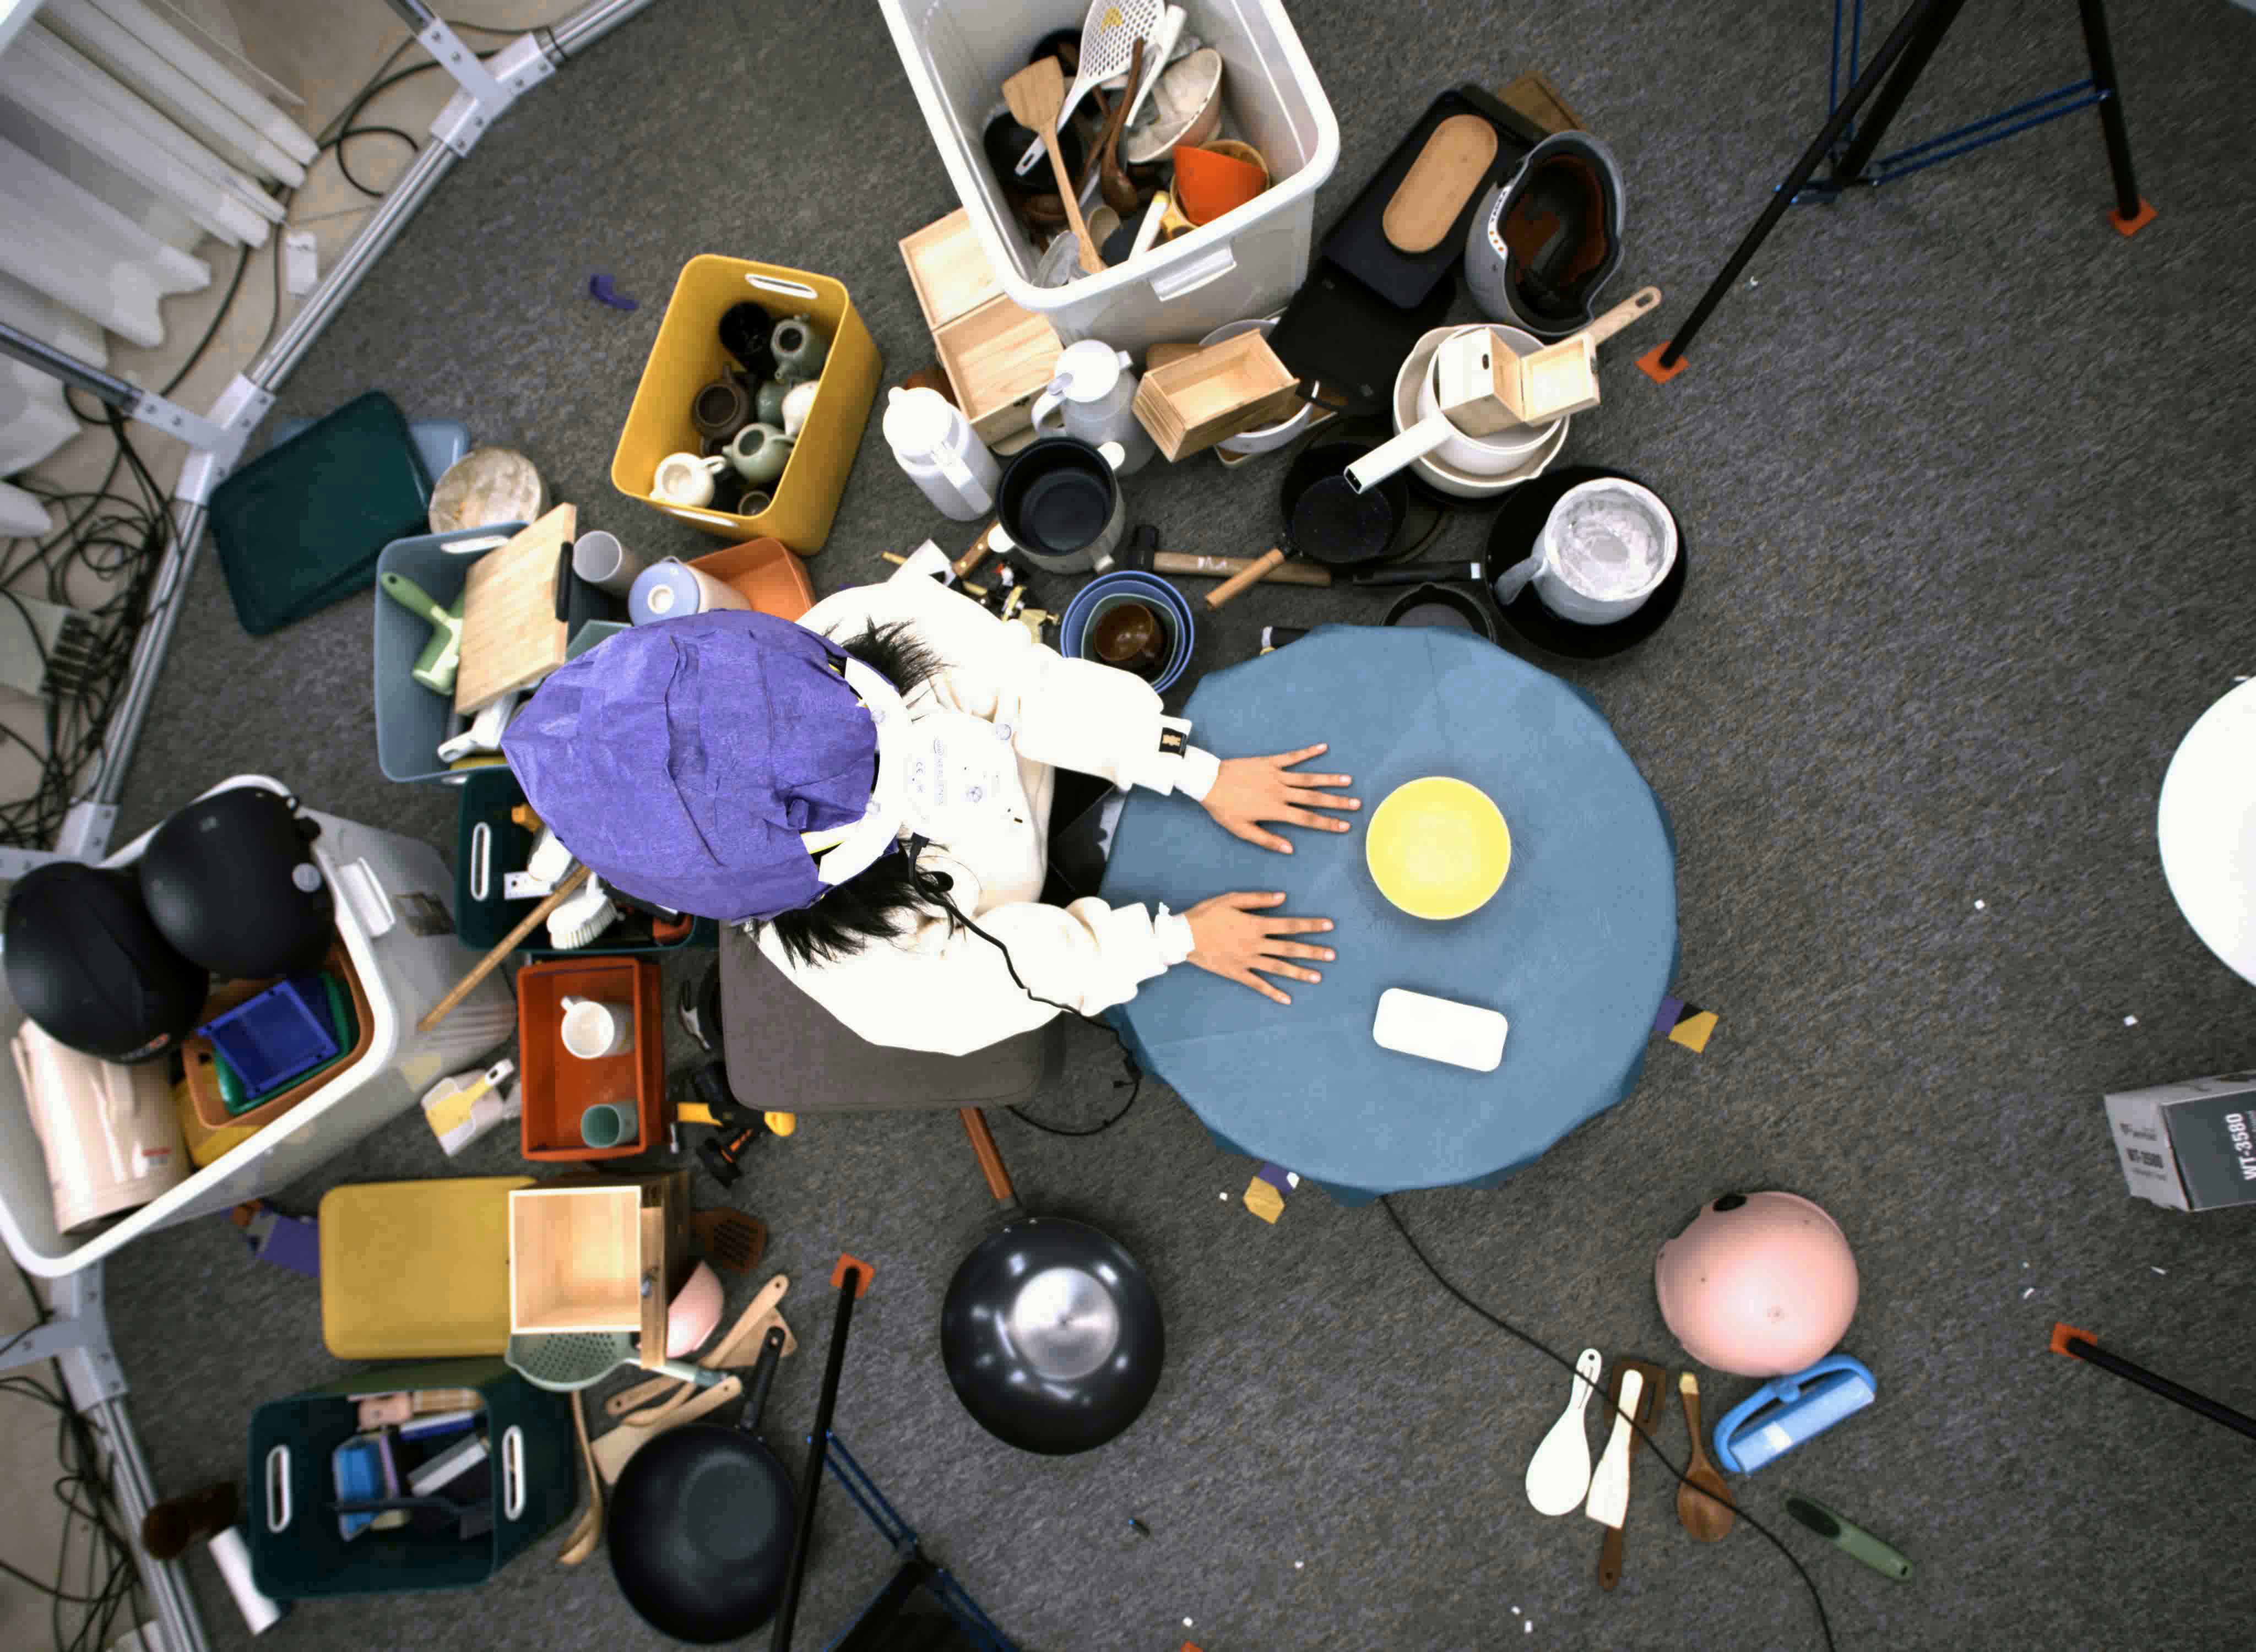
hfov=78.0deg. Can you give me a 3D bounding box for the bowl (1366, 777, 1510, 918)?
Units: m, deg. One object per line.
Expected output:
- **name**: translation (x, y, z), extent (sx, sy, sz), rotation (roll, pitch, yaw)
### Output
- **bowl**: translation (0.317, 0.022, 1.425), extent (0.146, 0.060, 0.145), rotation (0, 88, 8)

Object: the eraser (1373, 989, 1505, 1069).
- **eraser**: translation (0.321, 0.206, 1.428), extent (0.131, 0.034, 0.063), rotation (12, 88, 11)
